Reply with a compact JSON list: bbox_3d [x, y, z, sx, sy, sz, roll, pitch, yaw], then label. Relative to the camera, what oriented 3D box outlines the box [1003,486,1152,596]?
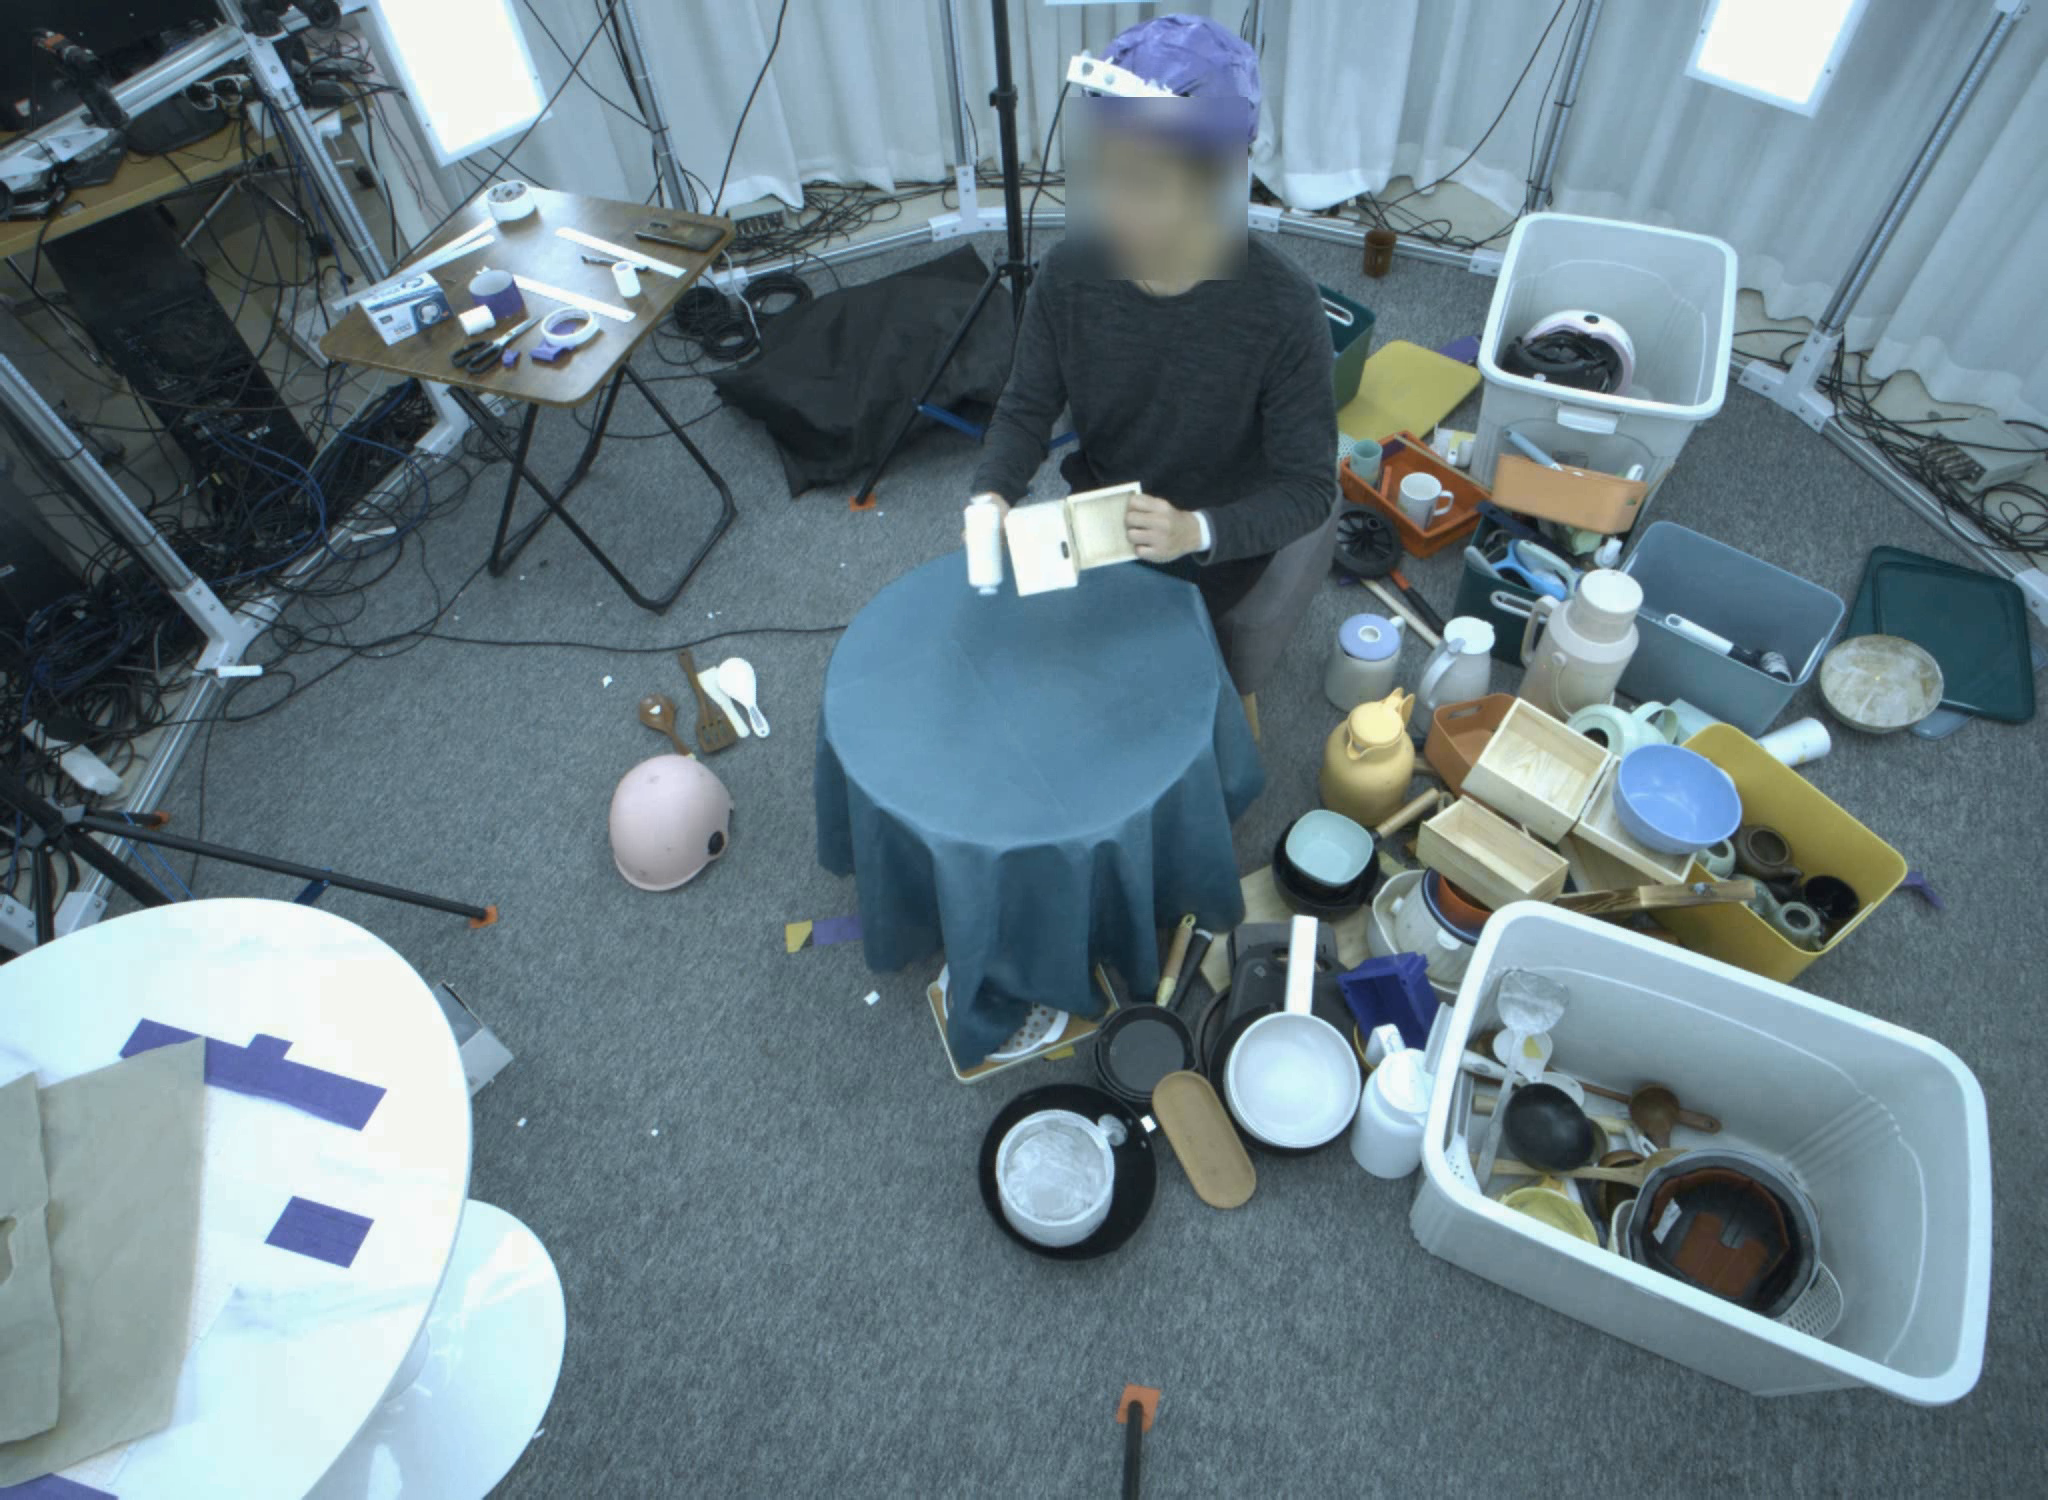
[{"bbox_3d":[0.076,-0.281,1.638,0.184,0.103,0.133,-9,19,6],"label":"box"}]

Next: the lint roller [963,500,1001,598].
[{"bbox_3d":[-0.062,-0.288,1.723,0.050,0.134,0.179,-6,15,-4],"label":"lint roller"}]
